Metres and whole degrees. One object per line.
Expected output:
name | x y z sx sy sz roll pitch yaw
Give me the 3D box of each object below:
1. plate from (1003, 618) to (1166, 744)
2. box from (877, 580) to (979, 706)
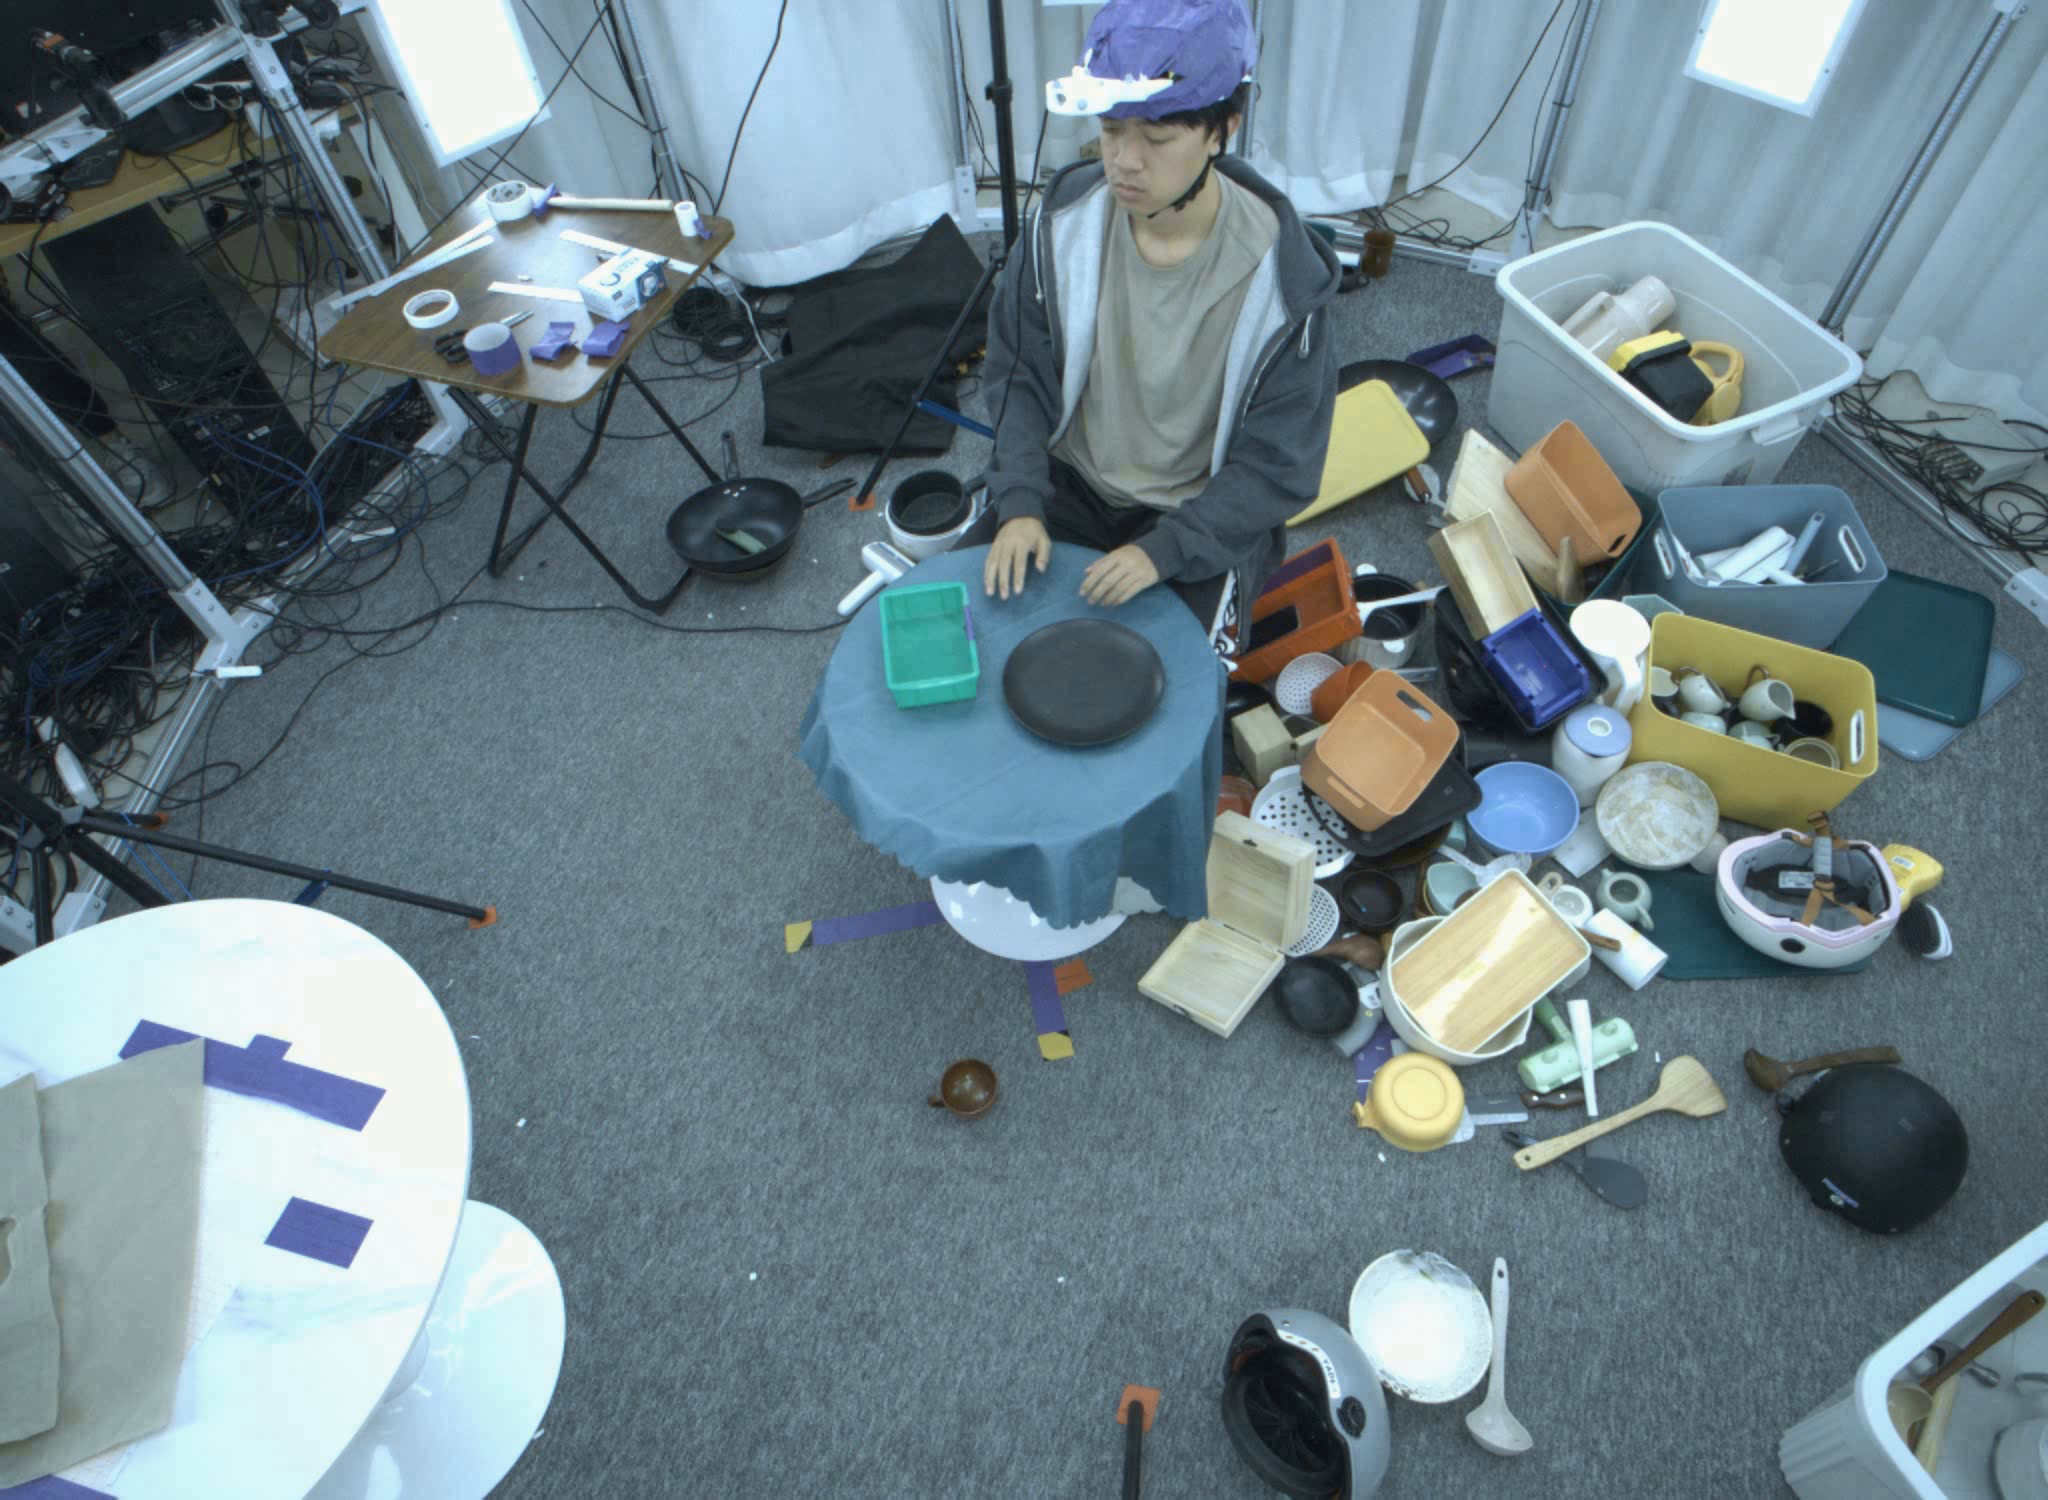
plate | 0.090 -0.101 1.845 0.244 0.024 0.242 -1 55 2
box | -0.146 -0.161 1.870 0.139 0.066 0.207 -8 53 -5
